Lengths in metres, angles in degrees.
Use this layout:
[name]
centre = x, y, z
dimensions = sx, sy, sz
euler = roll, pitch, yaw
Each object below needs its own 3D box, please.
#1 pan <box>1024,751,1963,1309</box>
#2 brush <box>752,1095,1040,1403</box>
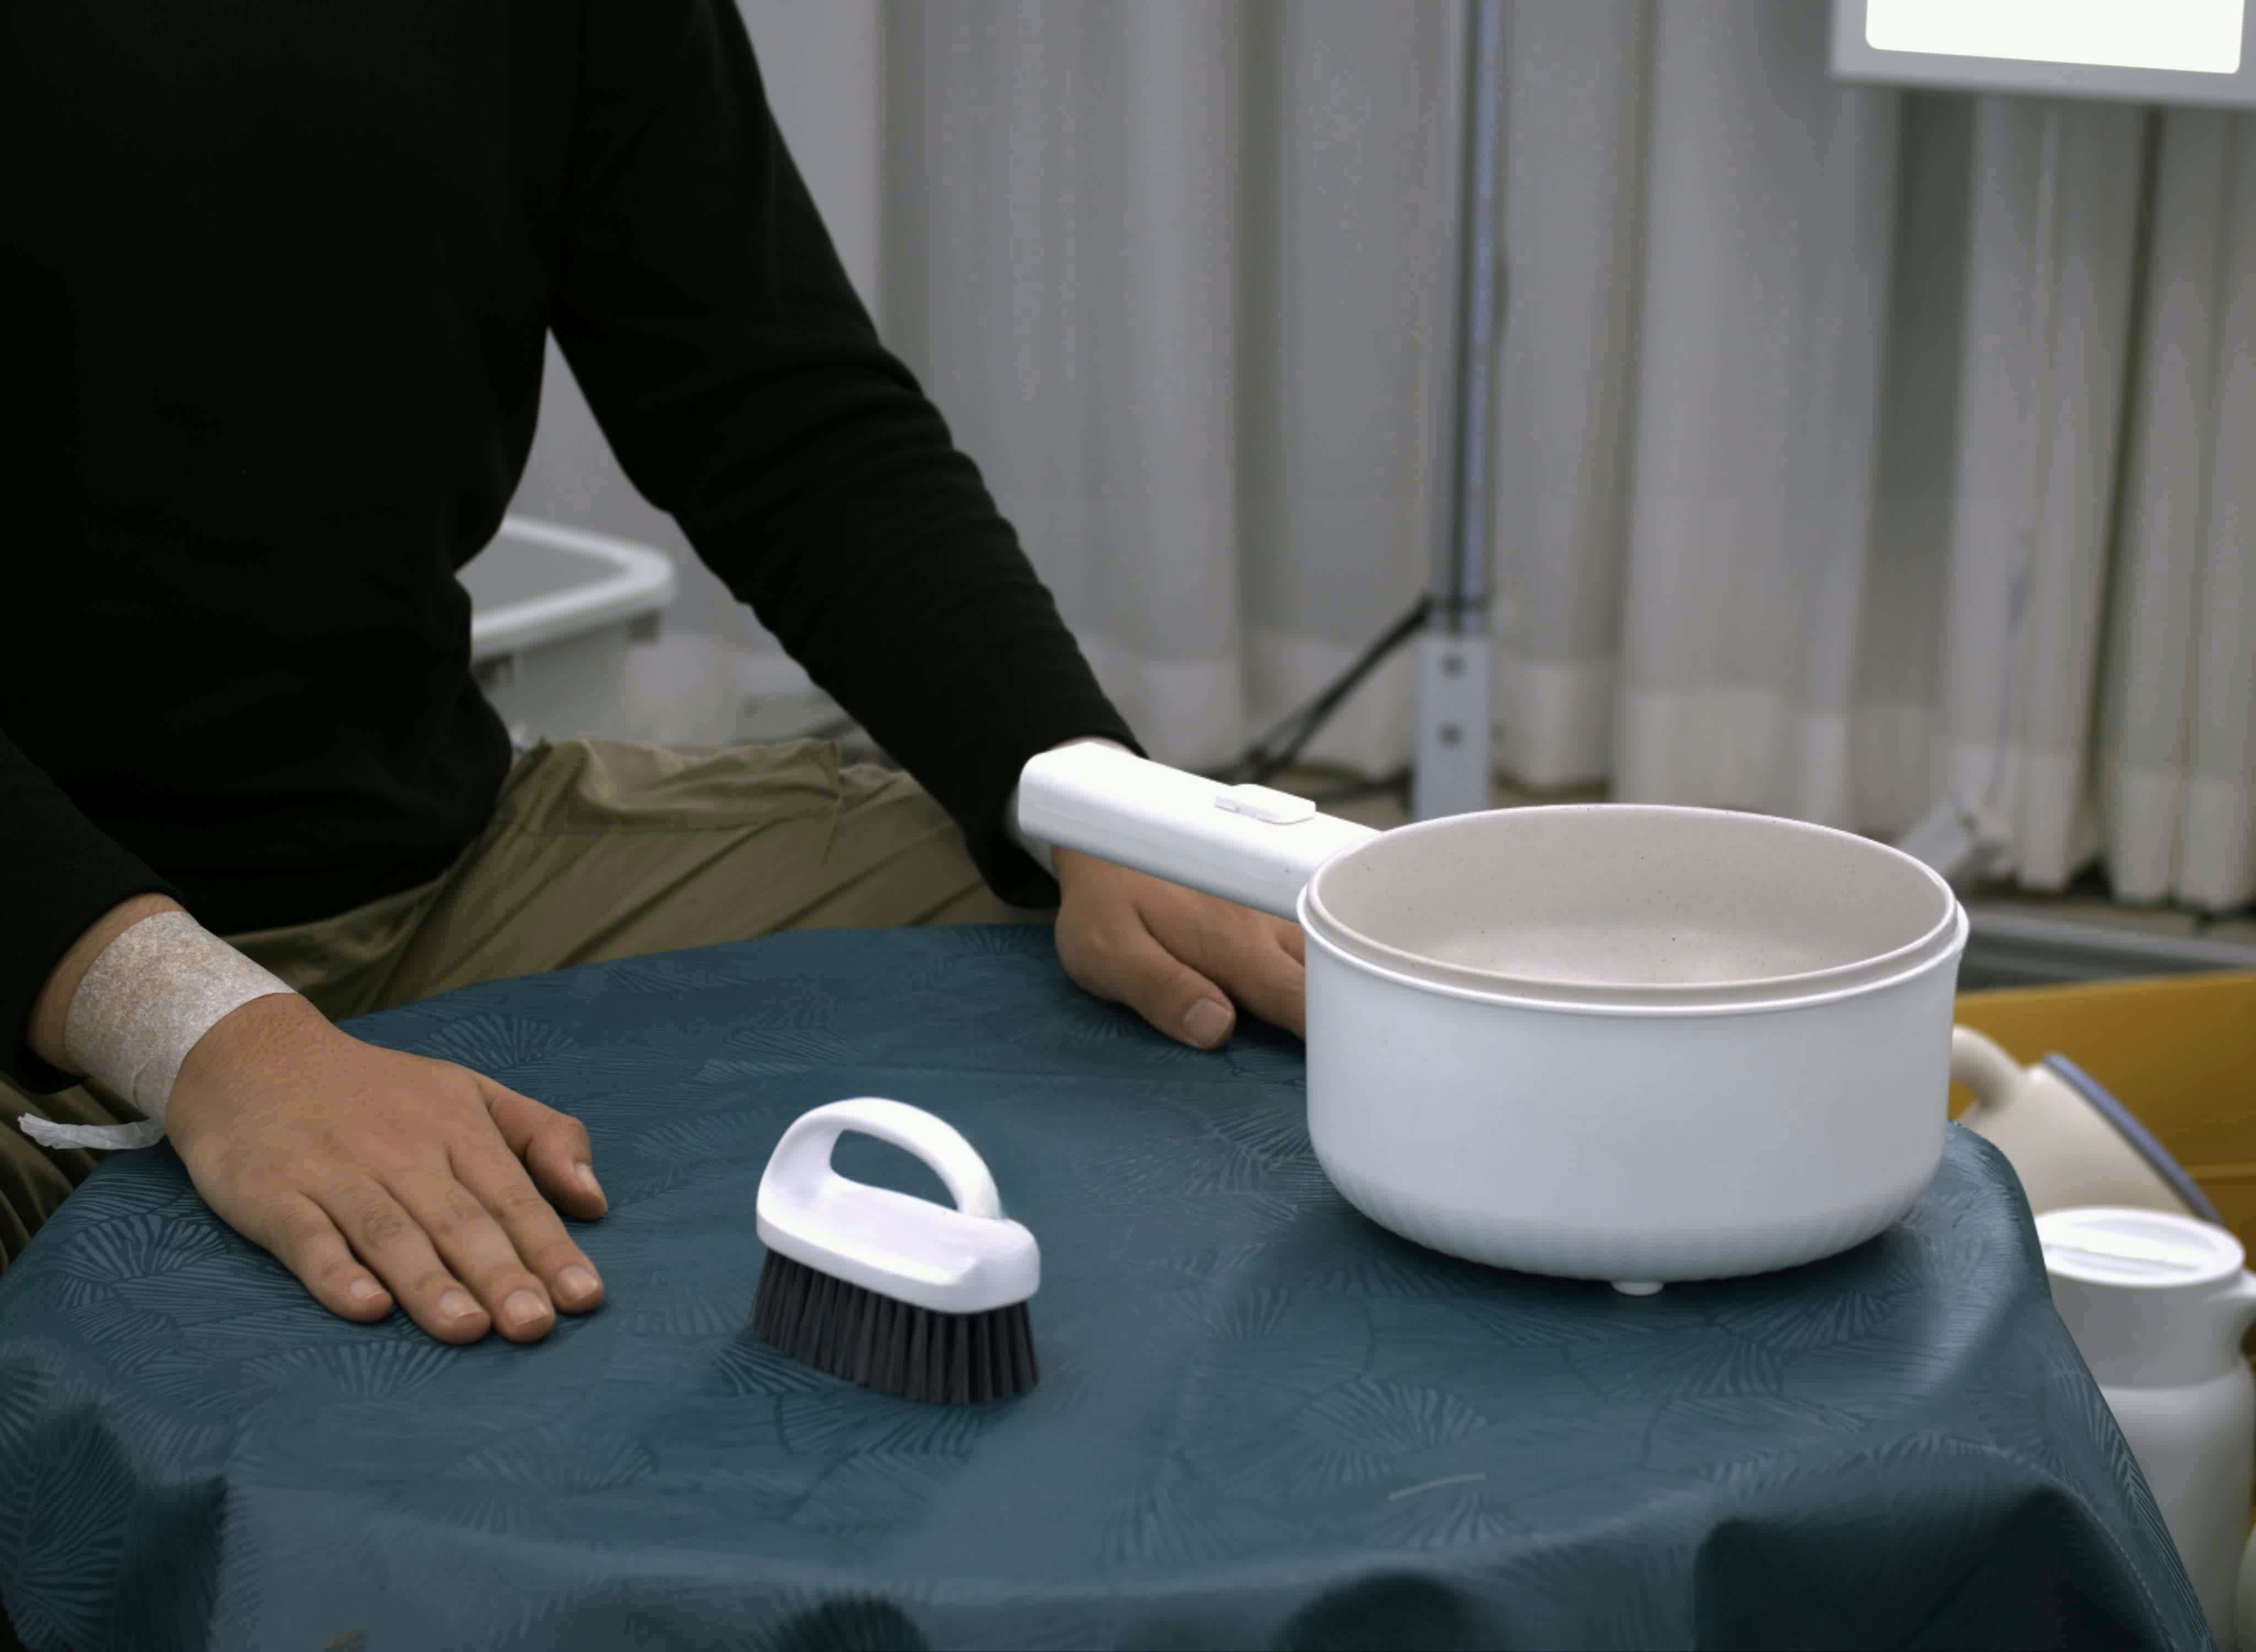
[pan]
centre = 0.099, 0.056, 1.651
dimensions = 0.202, 0.103, 0.350
euler = -17, 22, -41
[brush]
centre = -0.066, 0.113, 1.477
dimensions = 0.050, 0.073, 0.098
euler = -14, 21, -41
